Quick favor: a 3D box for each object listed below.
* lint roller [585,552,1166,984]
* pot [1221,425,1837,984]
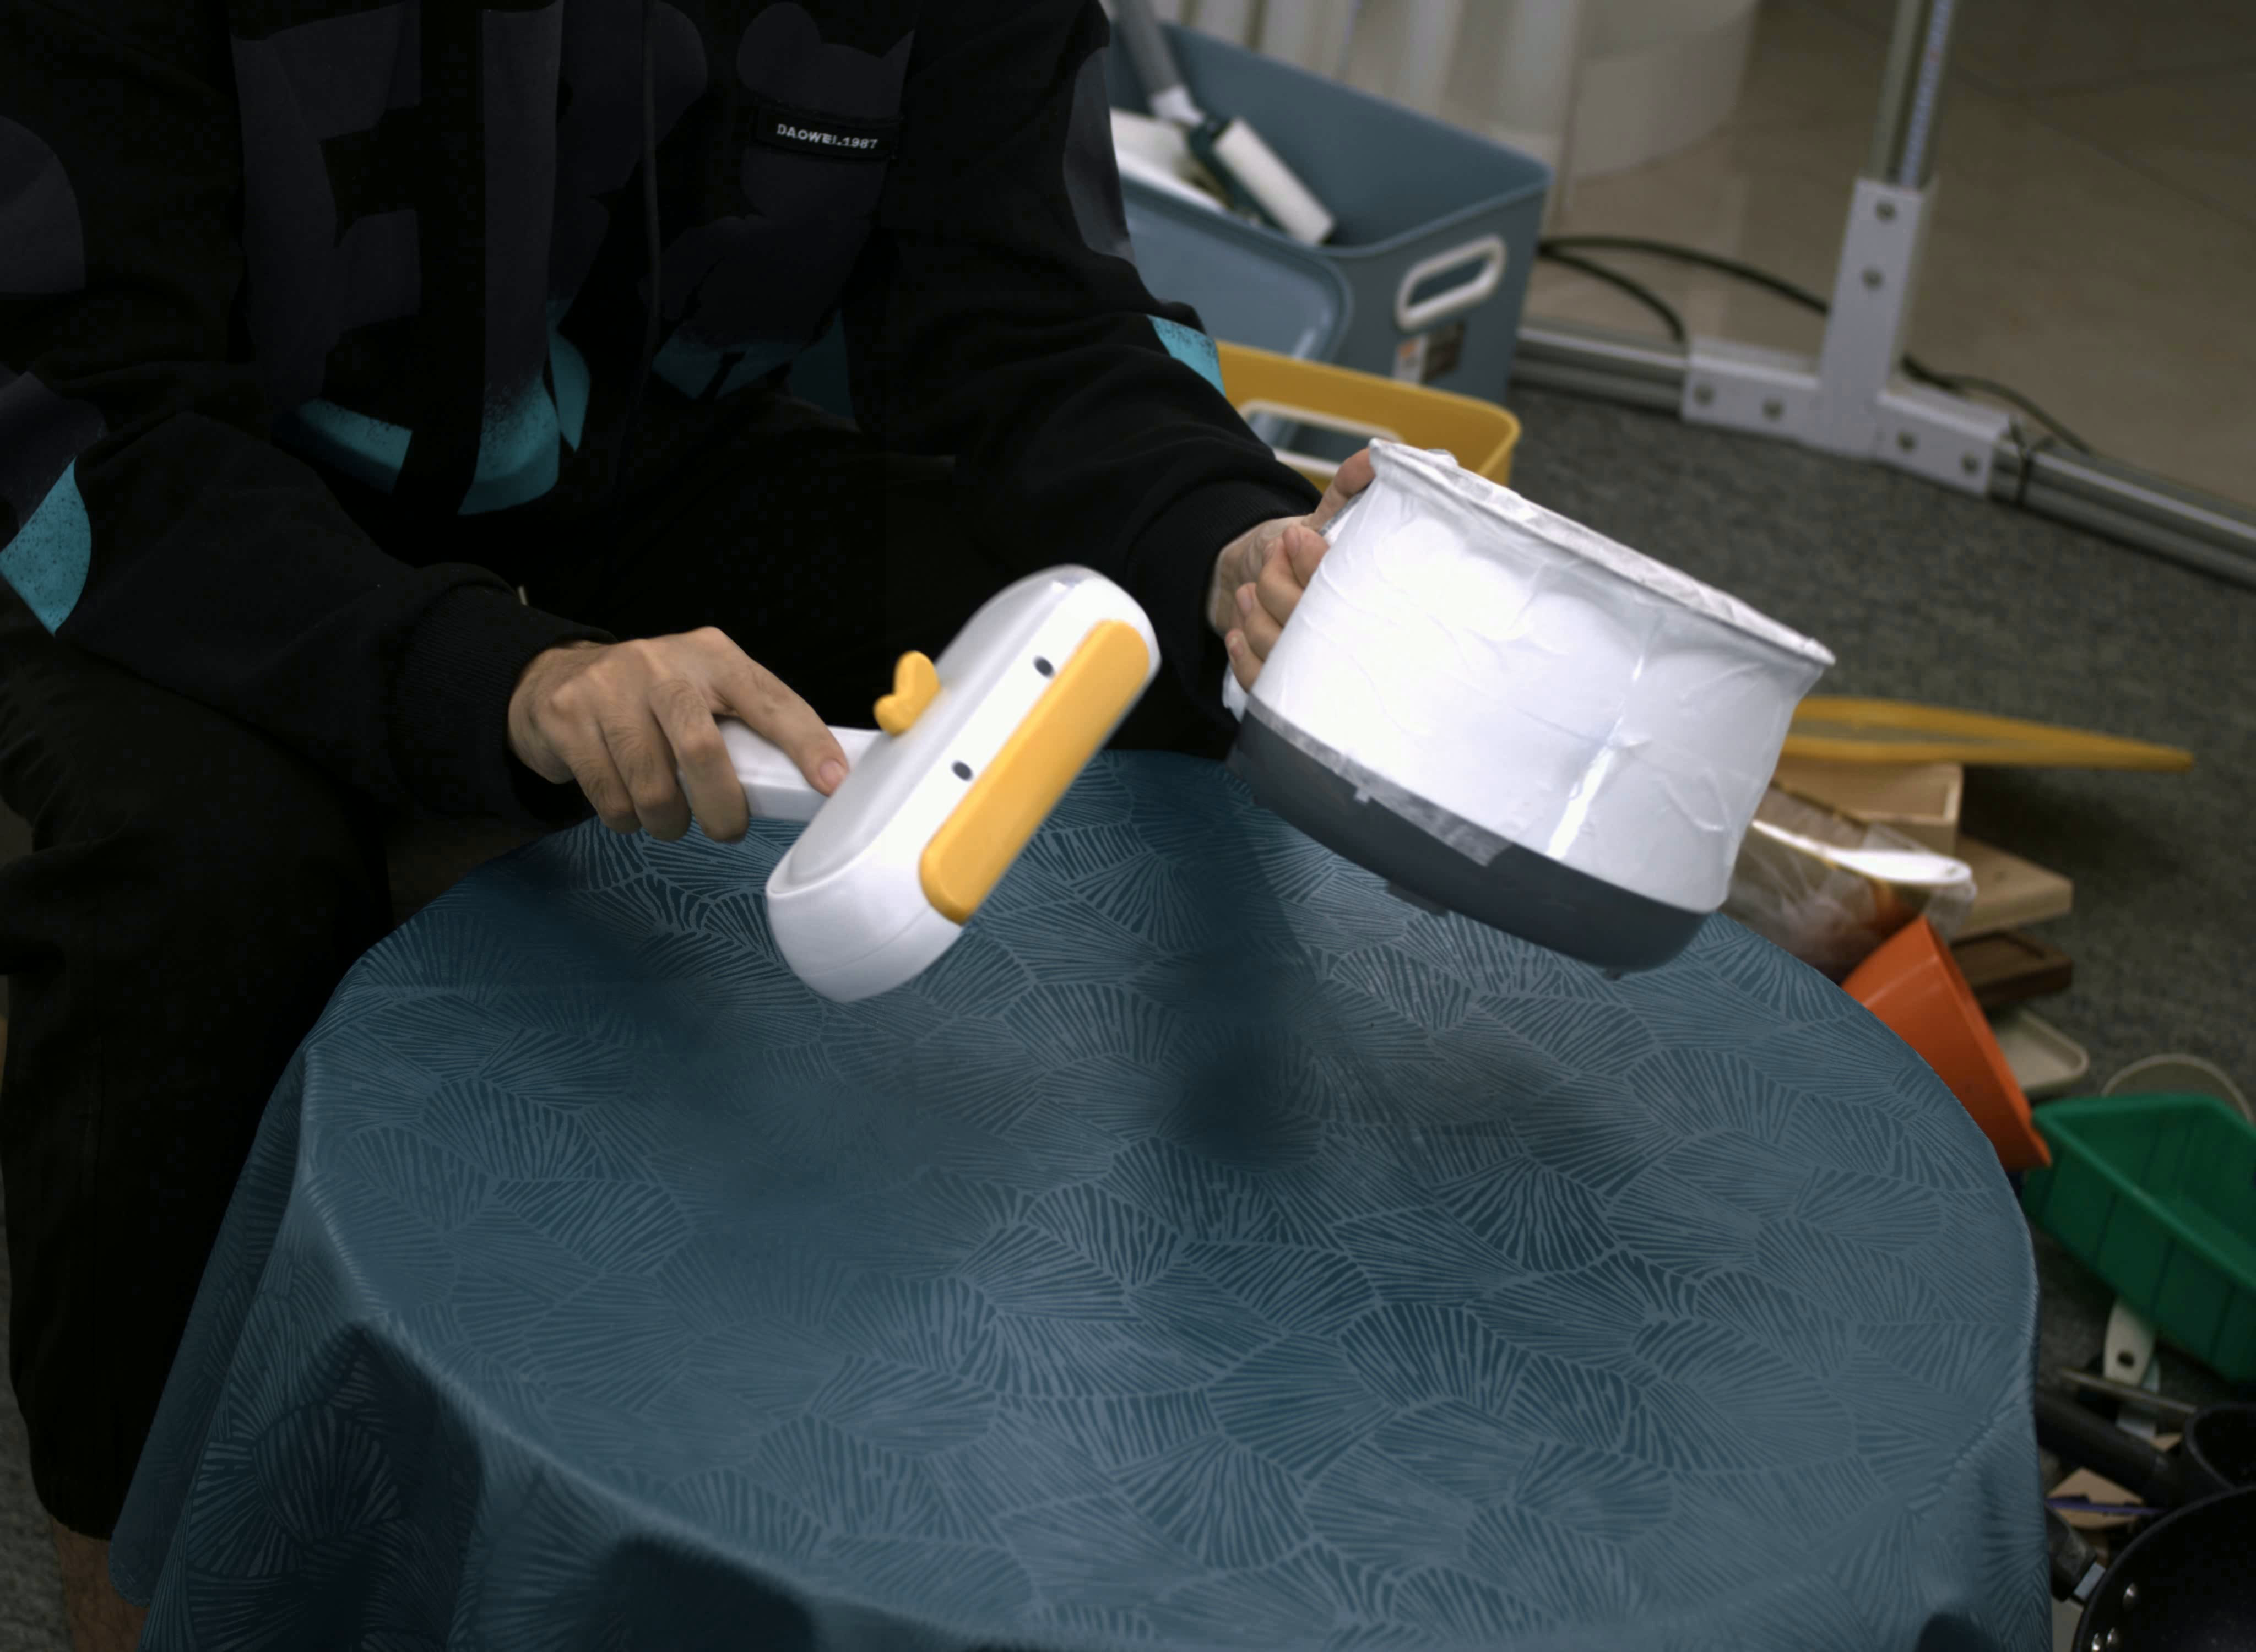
[{"bbox_3d":[-0.101,-0.019,1.832,0.193,0.073,0.193,-9,36,36],"label":"lint roller"},{"bbox_3d":[0.121,-0.050,1.851,0.177,0.136,0.236,24,8,-38],"label":"pot"}]
